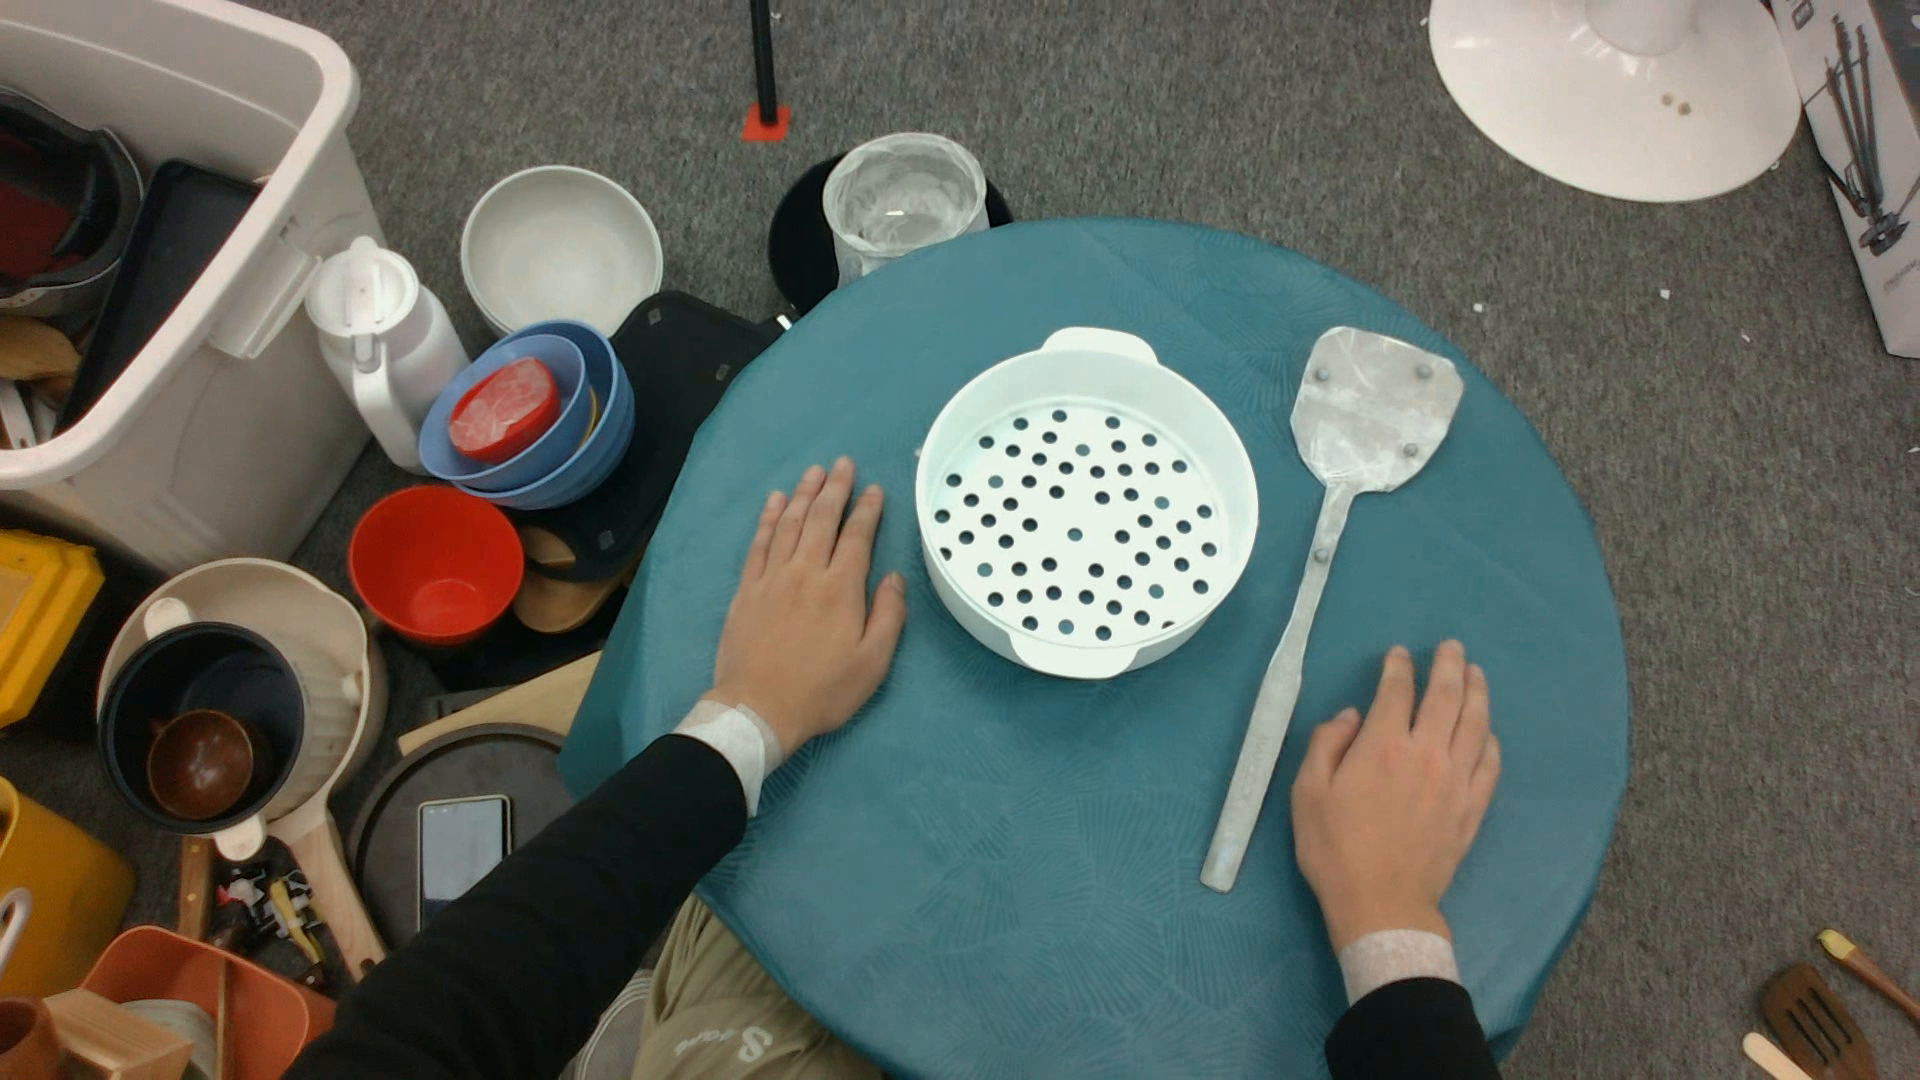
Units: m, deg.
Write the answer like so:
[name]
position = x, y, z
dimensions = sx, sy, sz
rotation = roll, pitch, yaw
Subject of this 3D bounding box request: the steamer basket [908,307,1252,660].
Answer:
[steamer basket]
position = 0.069, -0.028, 0.829
dimensions = 0.202, 0.069, 0.231
rotation = 8, 65, 1

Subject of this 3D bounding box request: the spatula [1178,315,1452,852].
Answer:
[spatula]
position = 0.206, 0.021, 0.832
dimensions = 0.098, 0.044, 0.366
rotation = 23, 65, 5
